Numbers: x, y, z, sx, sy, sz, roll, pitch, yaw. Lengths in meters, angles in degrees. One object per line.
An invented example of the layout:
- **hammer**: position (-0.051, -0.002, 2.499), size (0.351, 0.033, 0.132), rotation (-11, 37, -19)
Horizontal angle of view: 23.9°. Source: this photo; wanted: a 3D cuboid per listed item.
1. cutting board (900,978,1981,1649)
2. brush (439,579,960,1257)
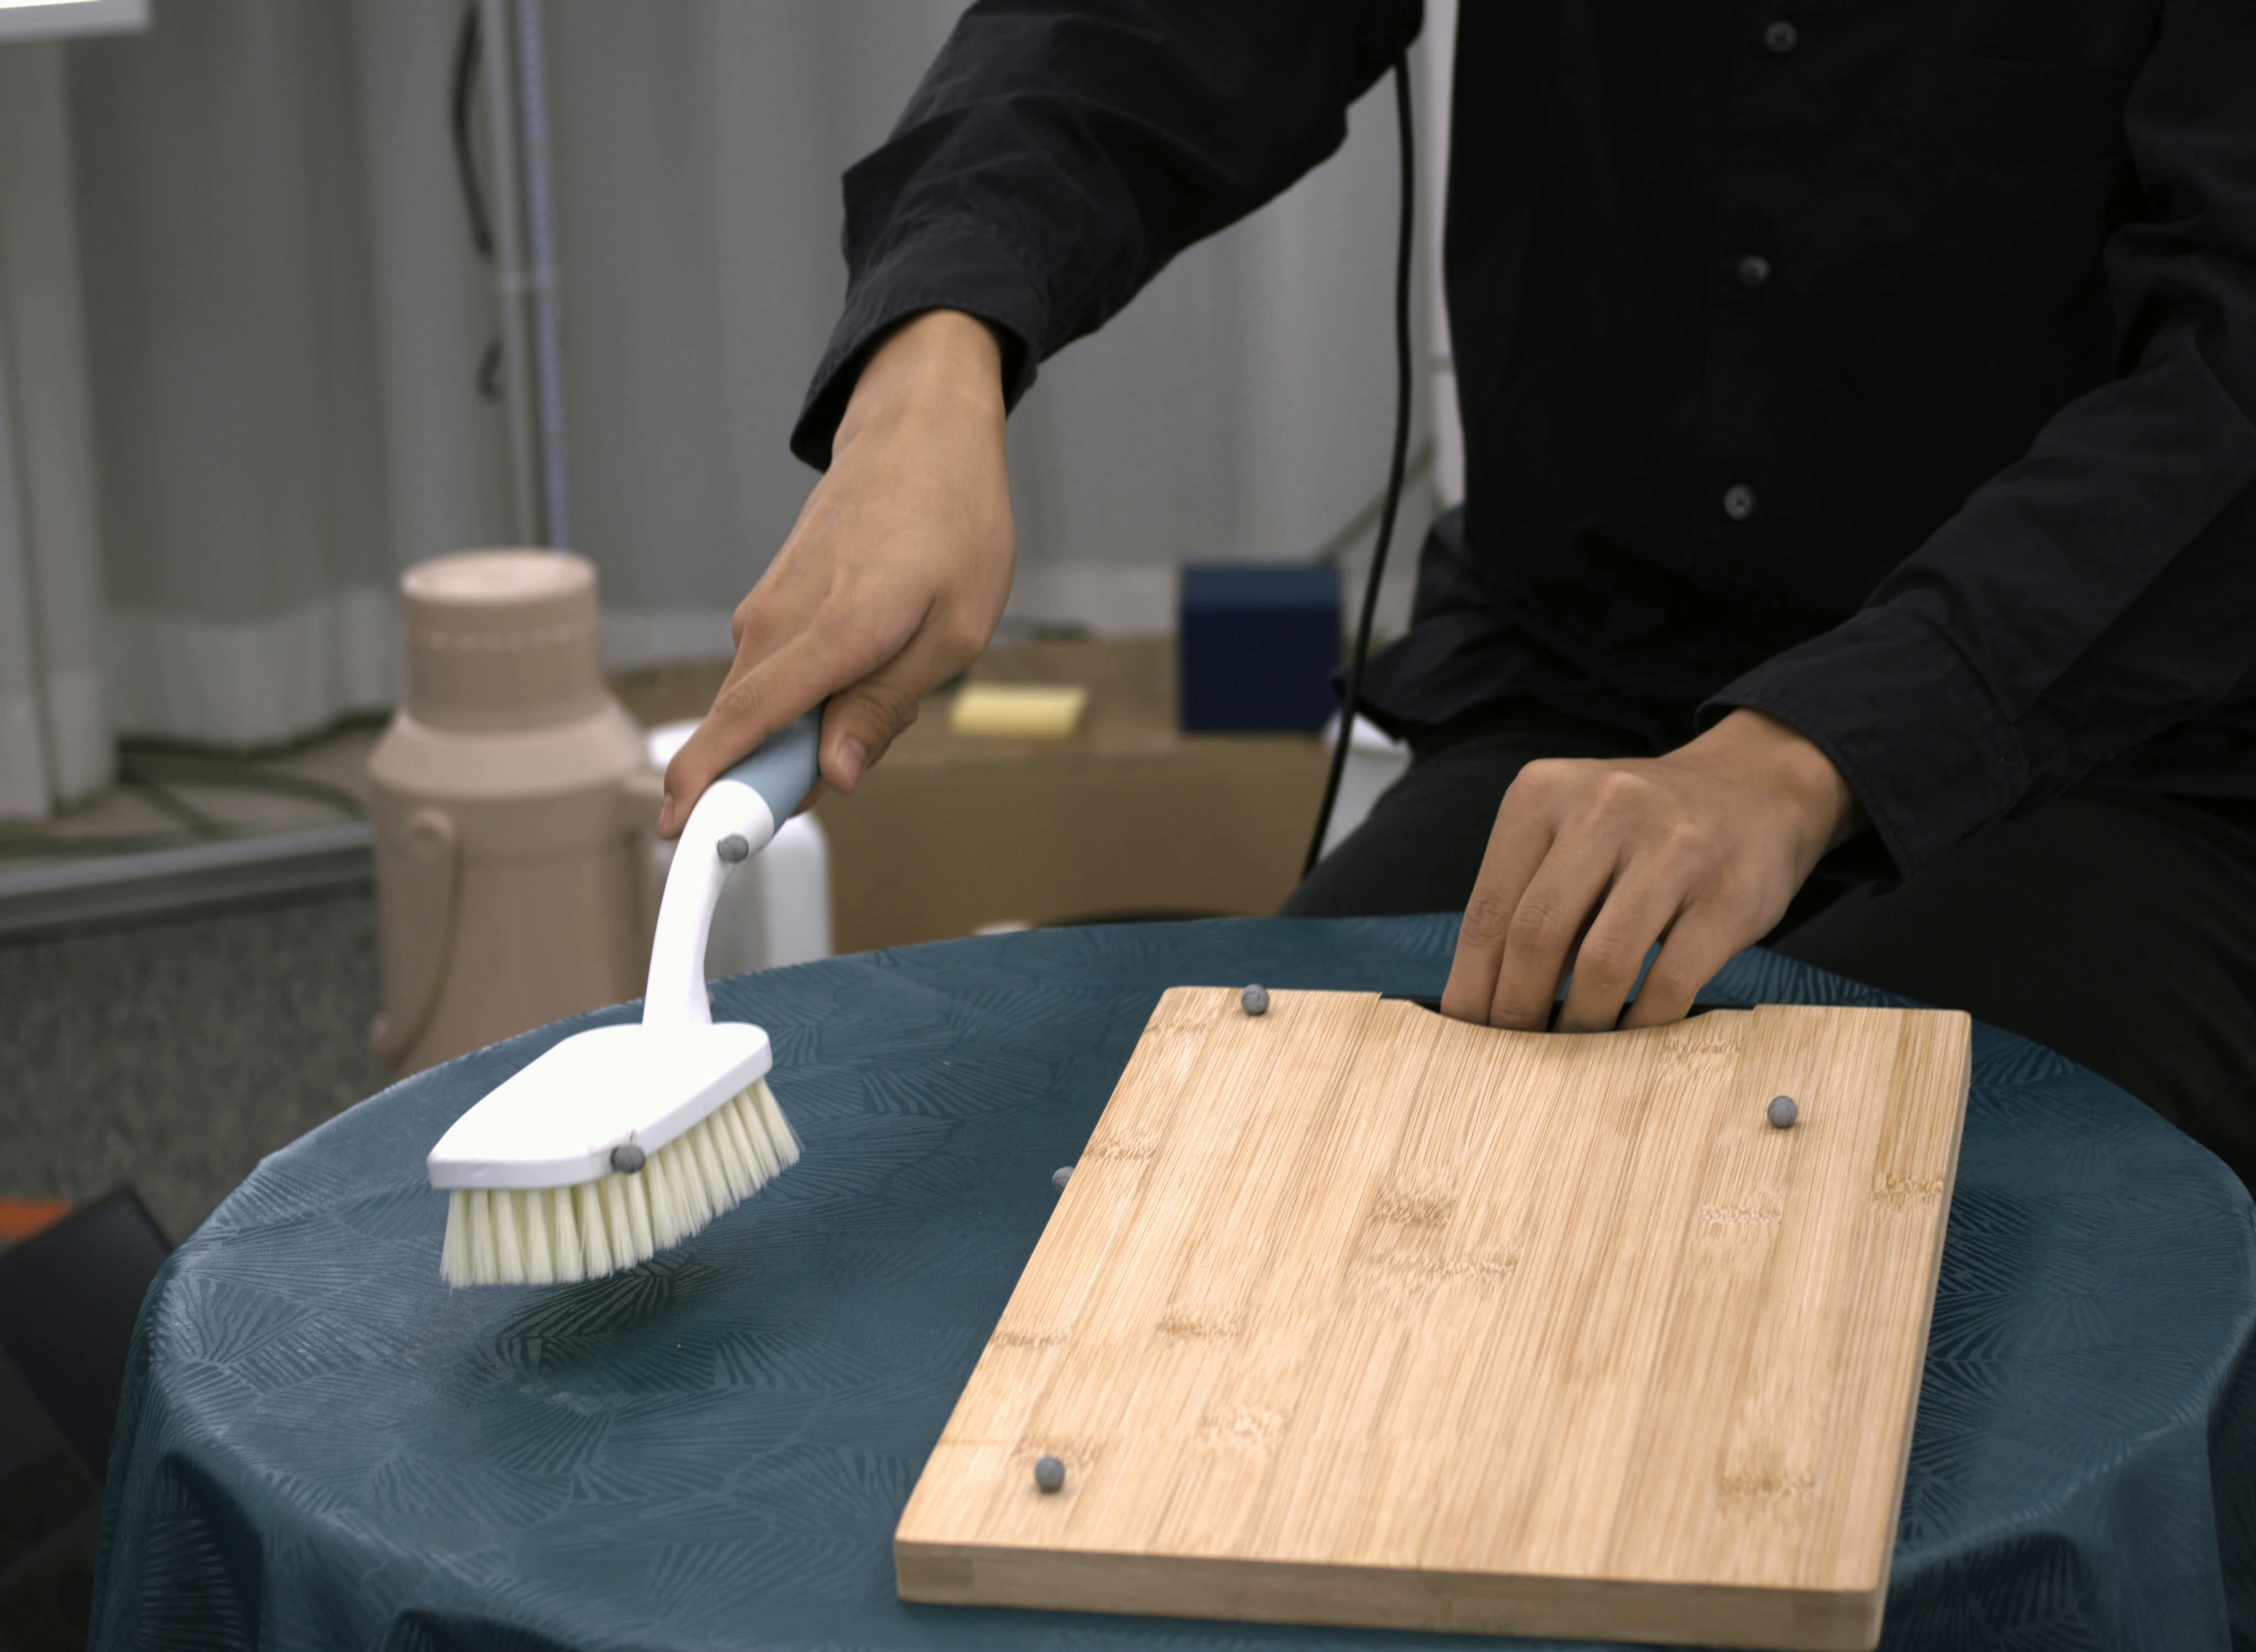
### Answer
- **cutting board**: position (0.097, 0.121, 1.415), size (0.252, 0.023, 0.347), rotation (1, 22, 12)
- **brush**: position (-0.108, 0.039, 1.564), size (0.083, 0.085, 0.323), rotation (30, 38, 5)
